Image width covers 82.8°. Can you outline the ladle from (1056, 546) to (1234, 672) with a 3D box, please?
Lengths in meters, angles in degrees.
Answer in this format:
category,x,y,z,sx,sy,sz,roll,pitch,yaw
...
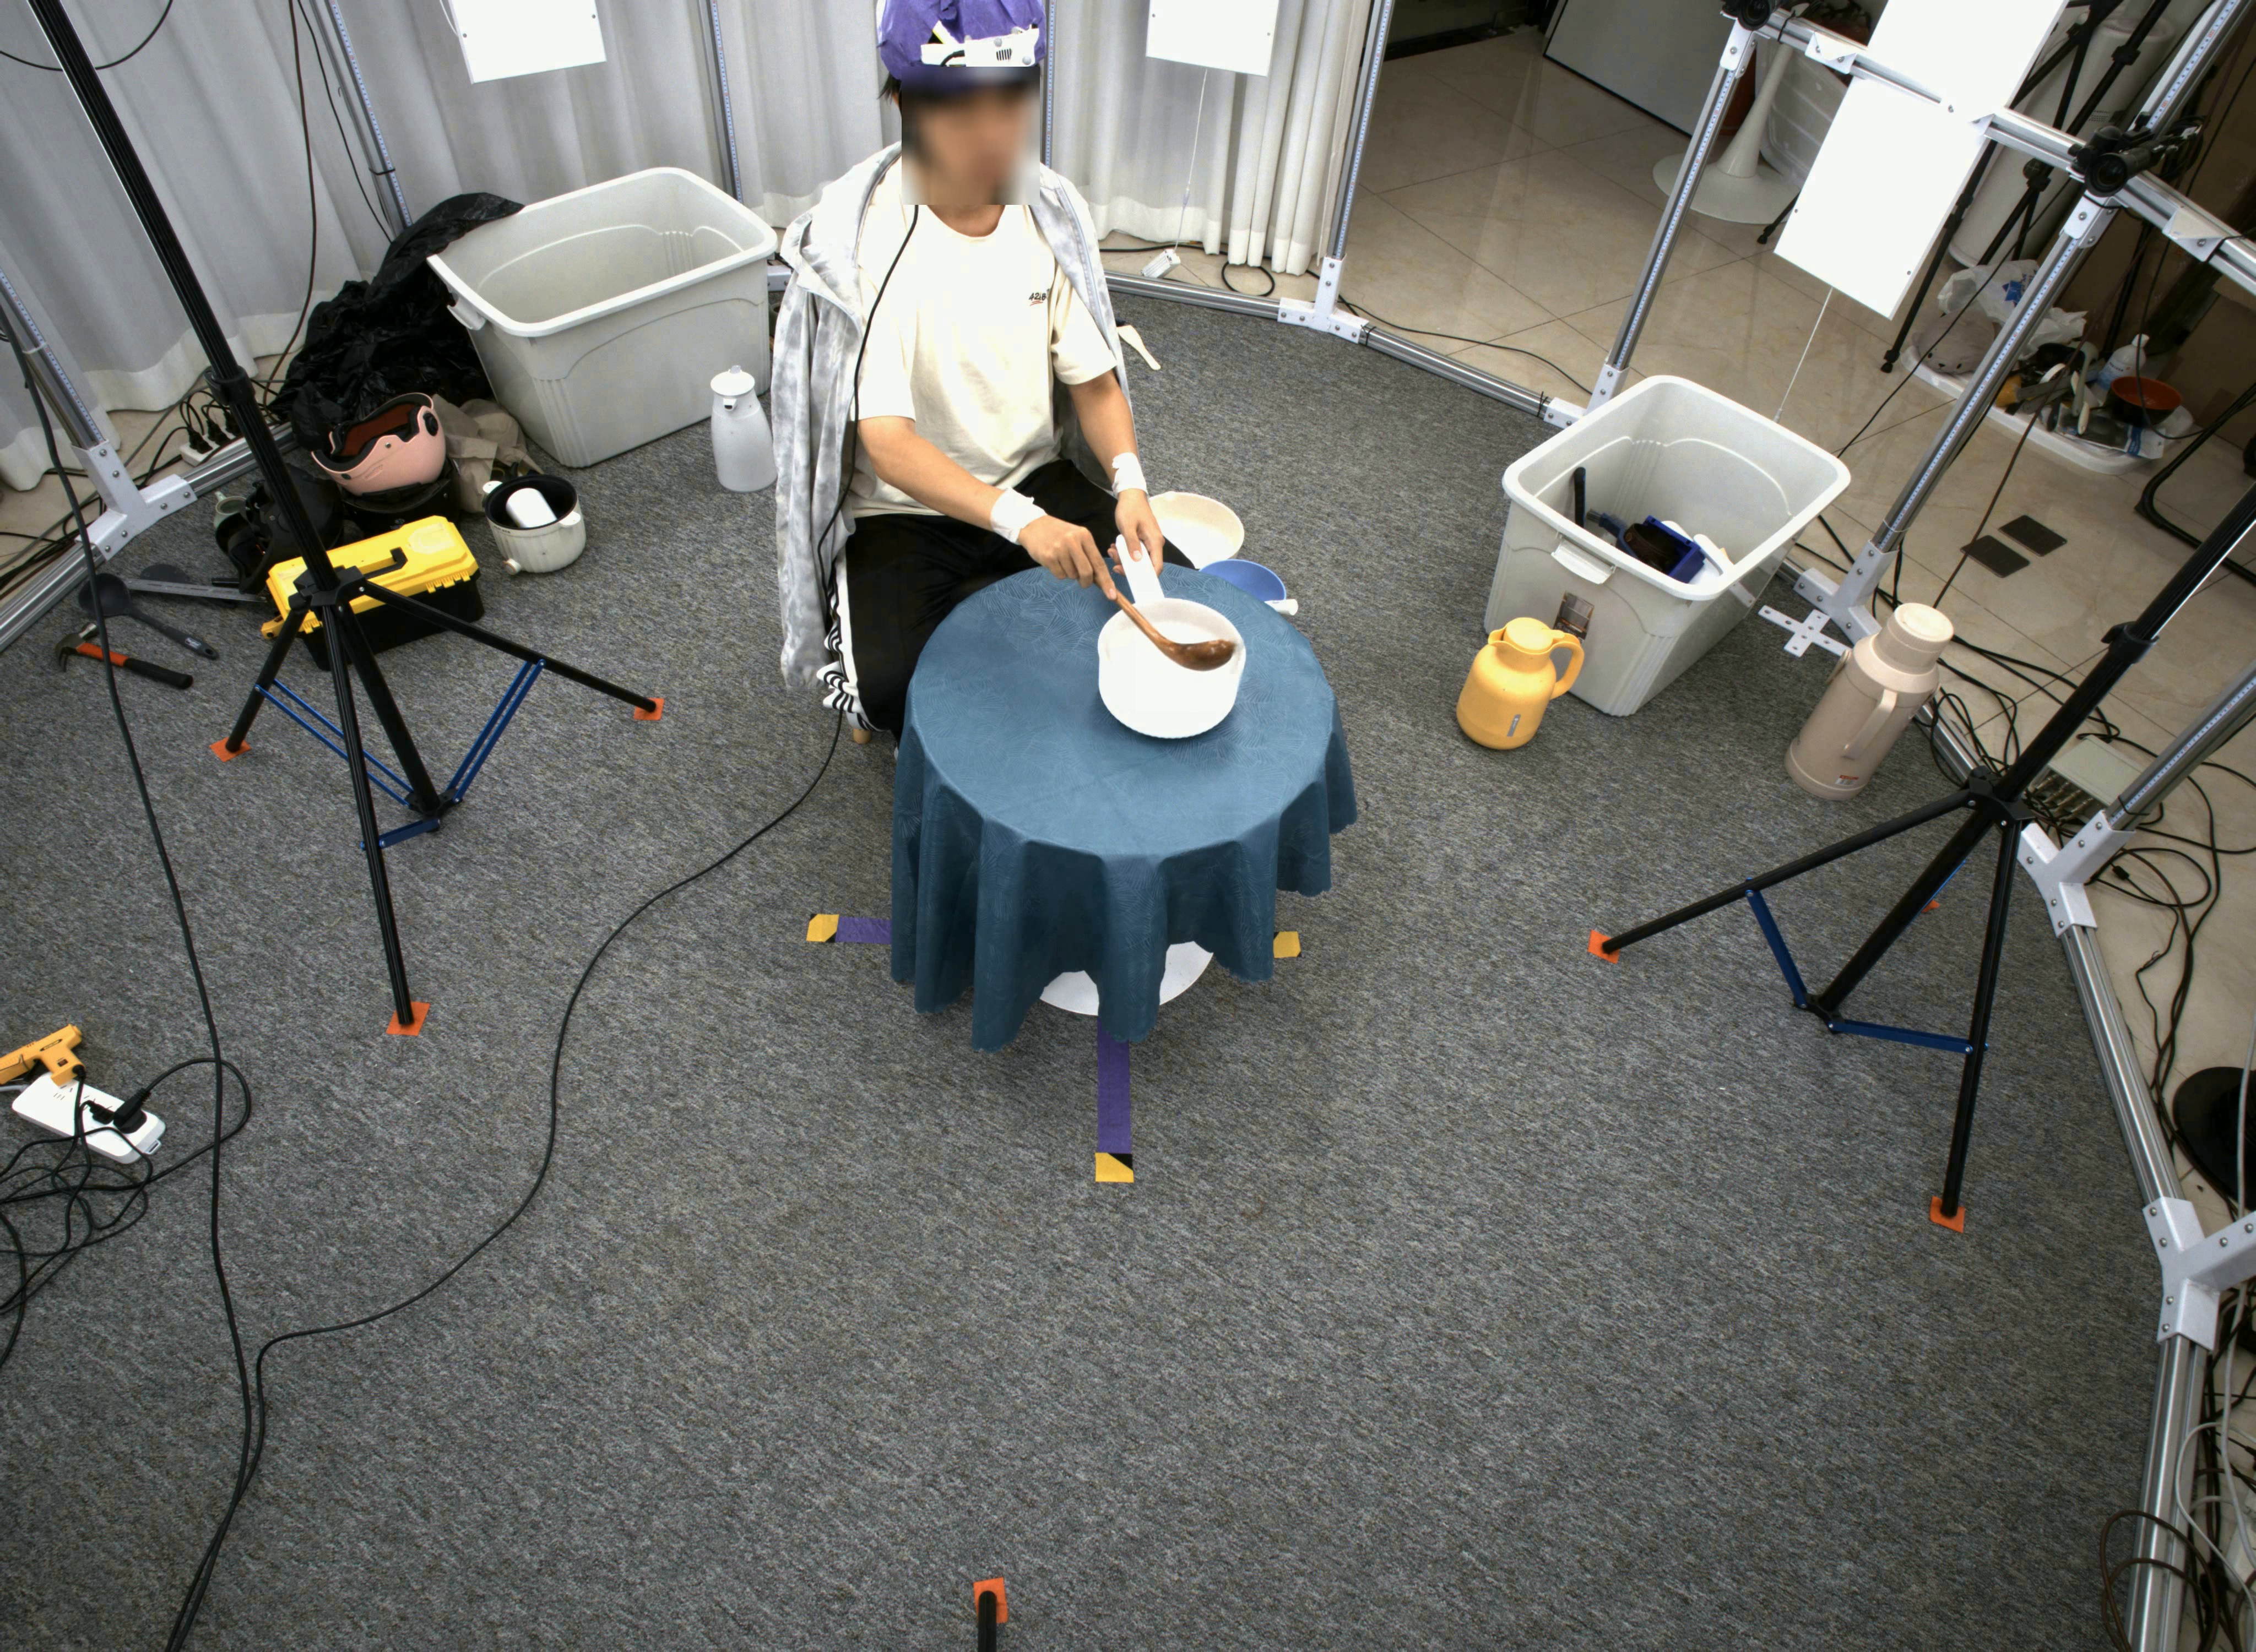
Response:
category,x,y,z,sx,sy,sz,roll,pitch,yaw
ladle,0.025,-0.305,1.734,0.276,0.081,0.077,44,78,9

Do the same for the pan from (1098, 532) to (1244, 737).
category,x,y,z,sx,sy,sz,roll,pitch,yaw
pan,0.041,-0.274,1.838,0.201,0.099,0.364,-8,49,-10
